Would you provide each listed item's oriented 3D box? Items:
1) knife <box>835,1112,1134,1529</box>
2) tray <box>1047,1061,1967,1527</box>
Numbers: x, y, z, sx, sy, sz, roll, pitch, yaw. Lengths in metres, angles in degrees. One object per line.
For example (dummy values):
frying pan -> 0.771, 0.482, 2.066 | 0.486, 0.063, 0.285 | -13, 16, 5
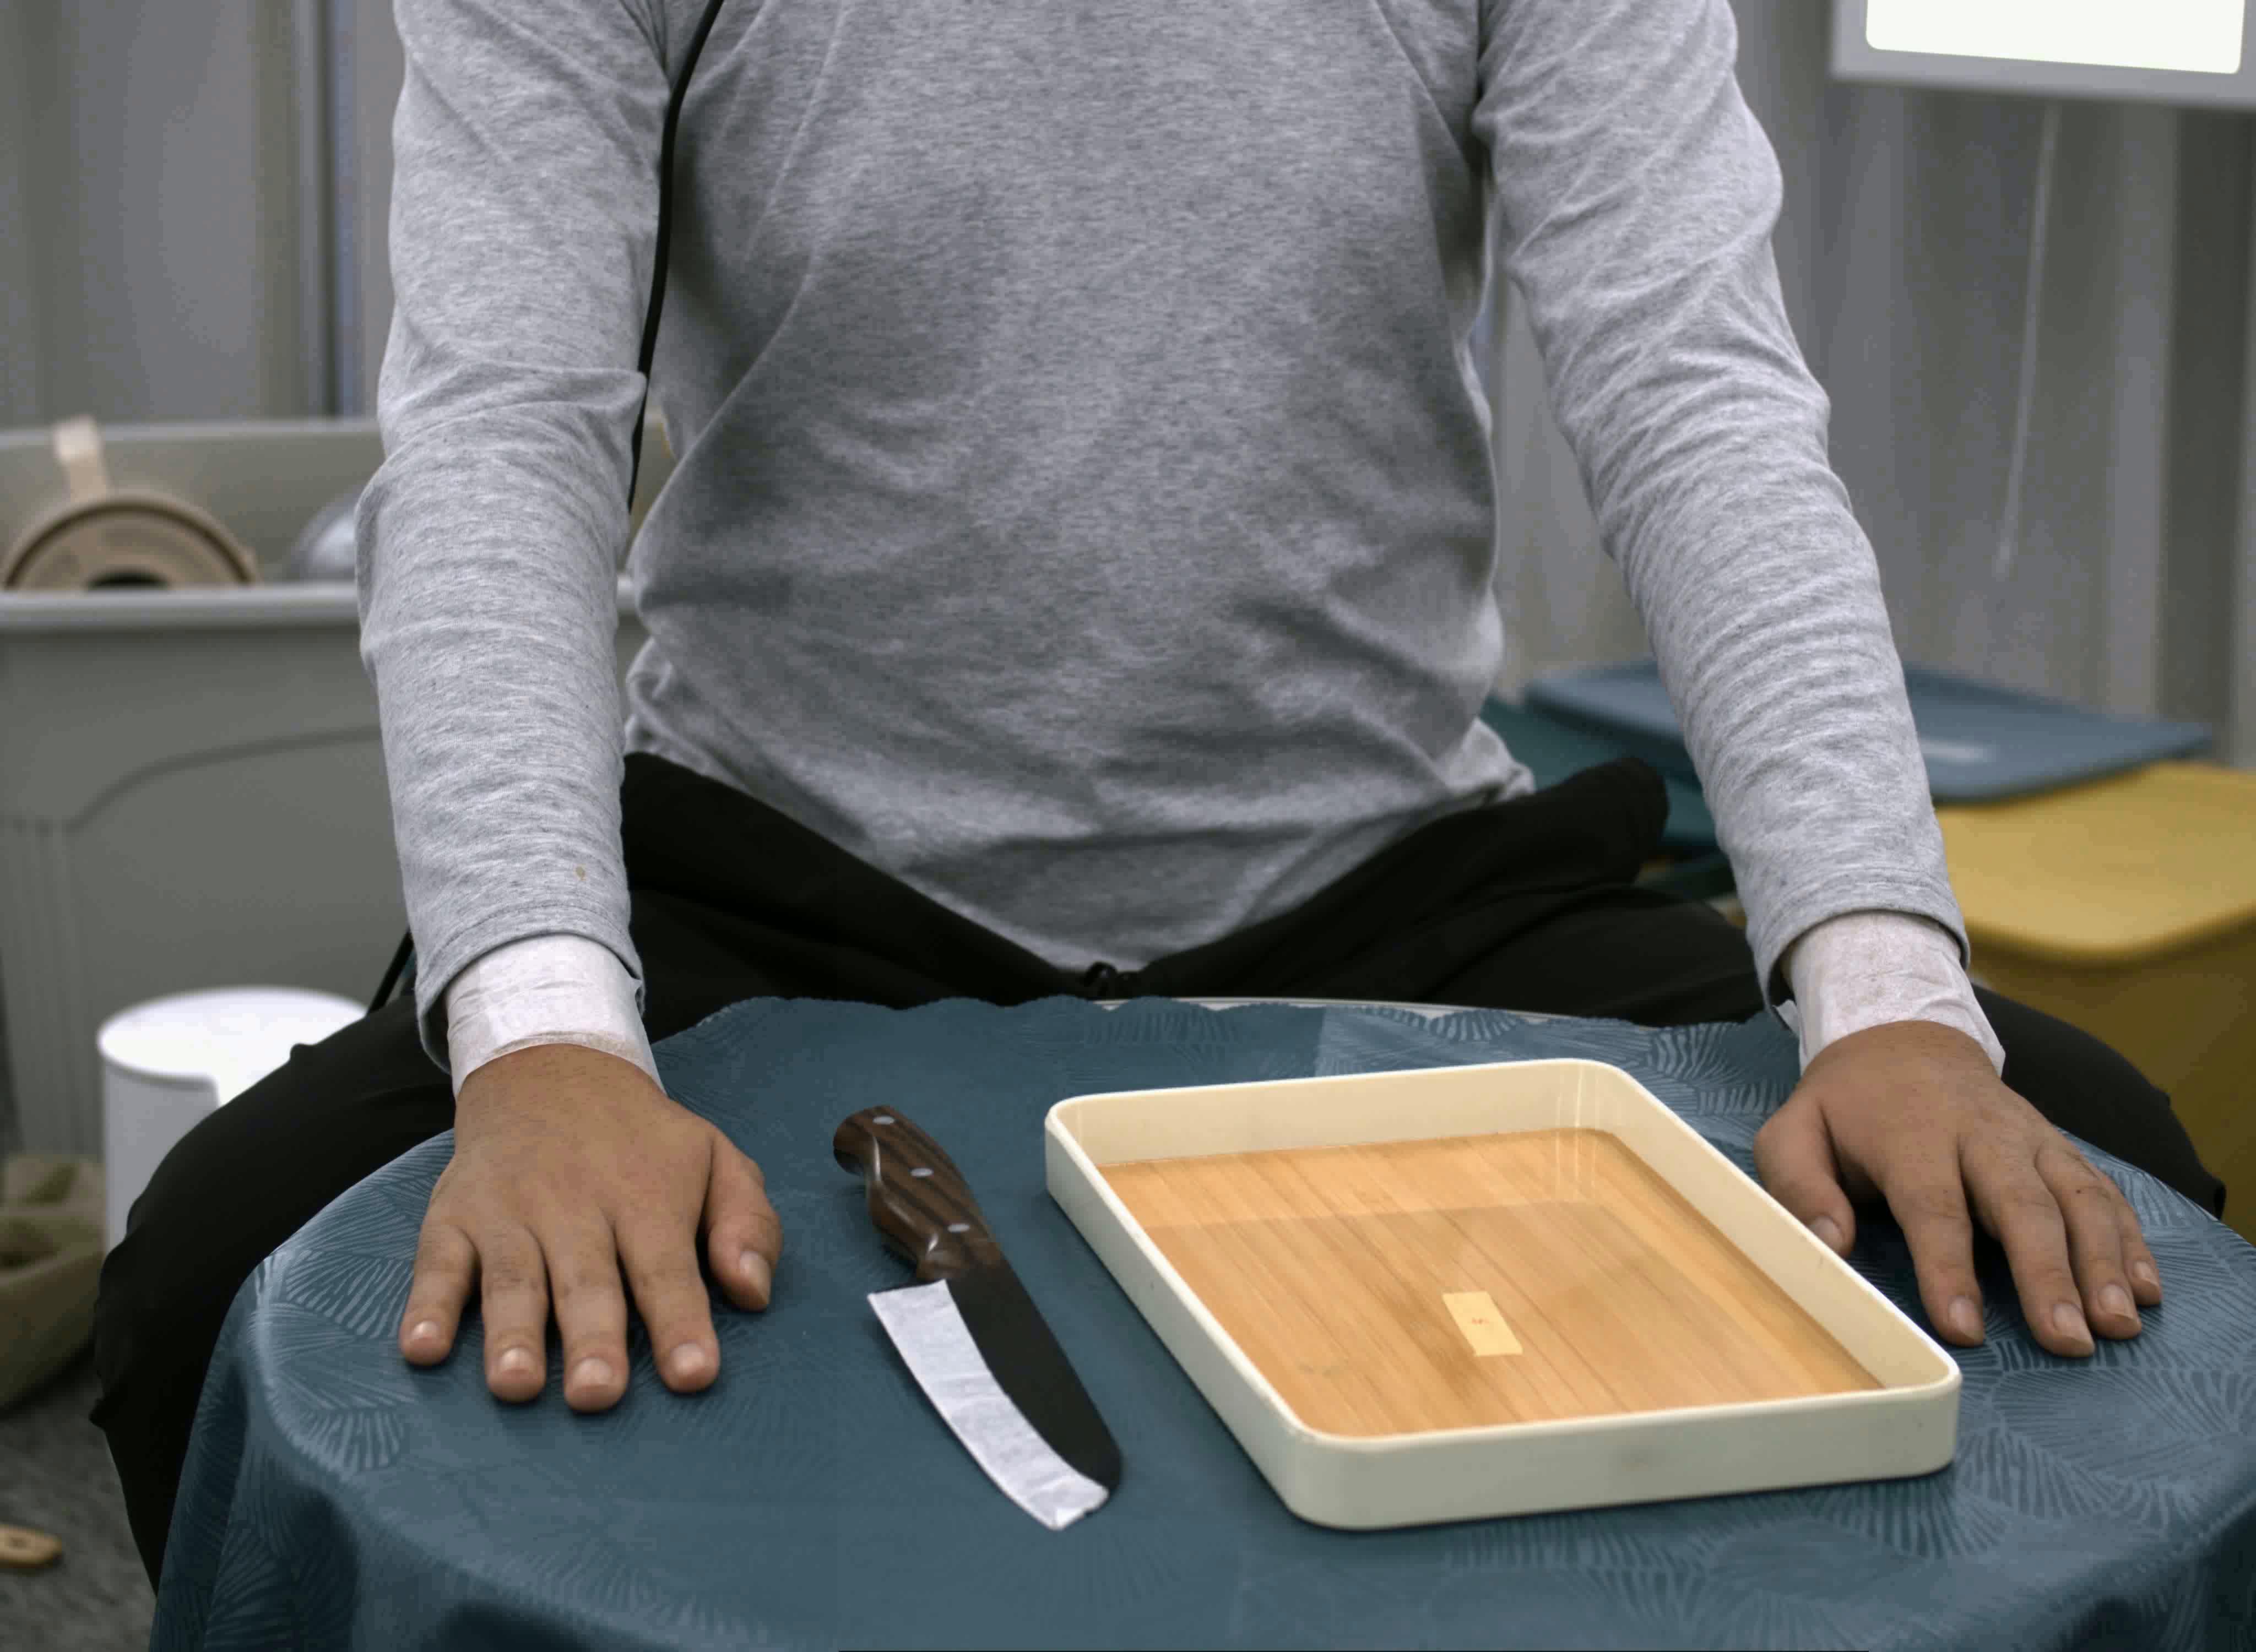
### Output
knife -> -0.046, 0.139, 1.499 | 0.050, 0.020, 0.286 | -8, 19, -11
tray -> 0.100, 0.129, 1.519 | 0.192, 0.027, 0.297 | -3, 16, -14
